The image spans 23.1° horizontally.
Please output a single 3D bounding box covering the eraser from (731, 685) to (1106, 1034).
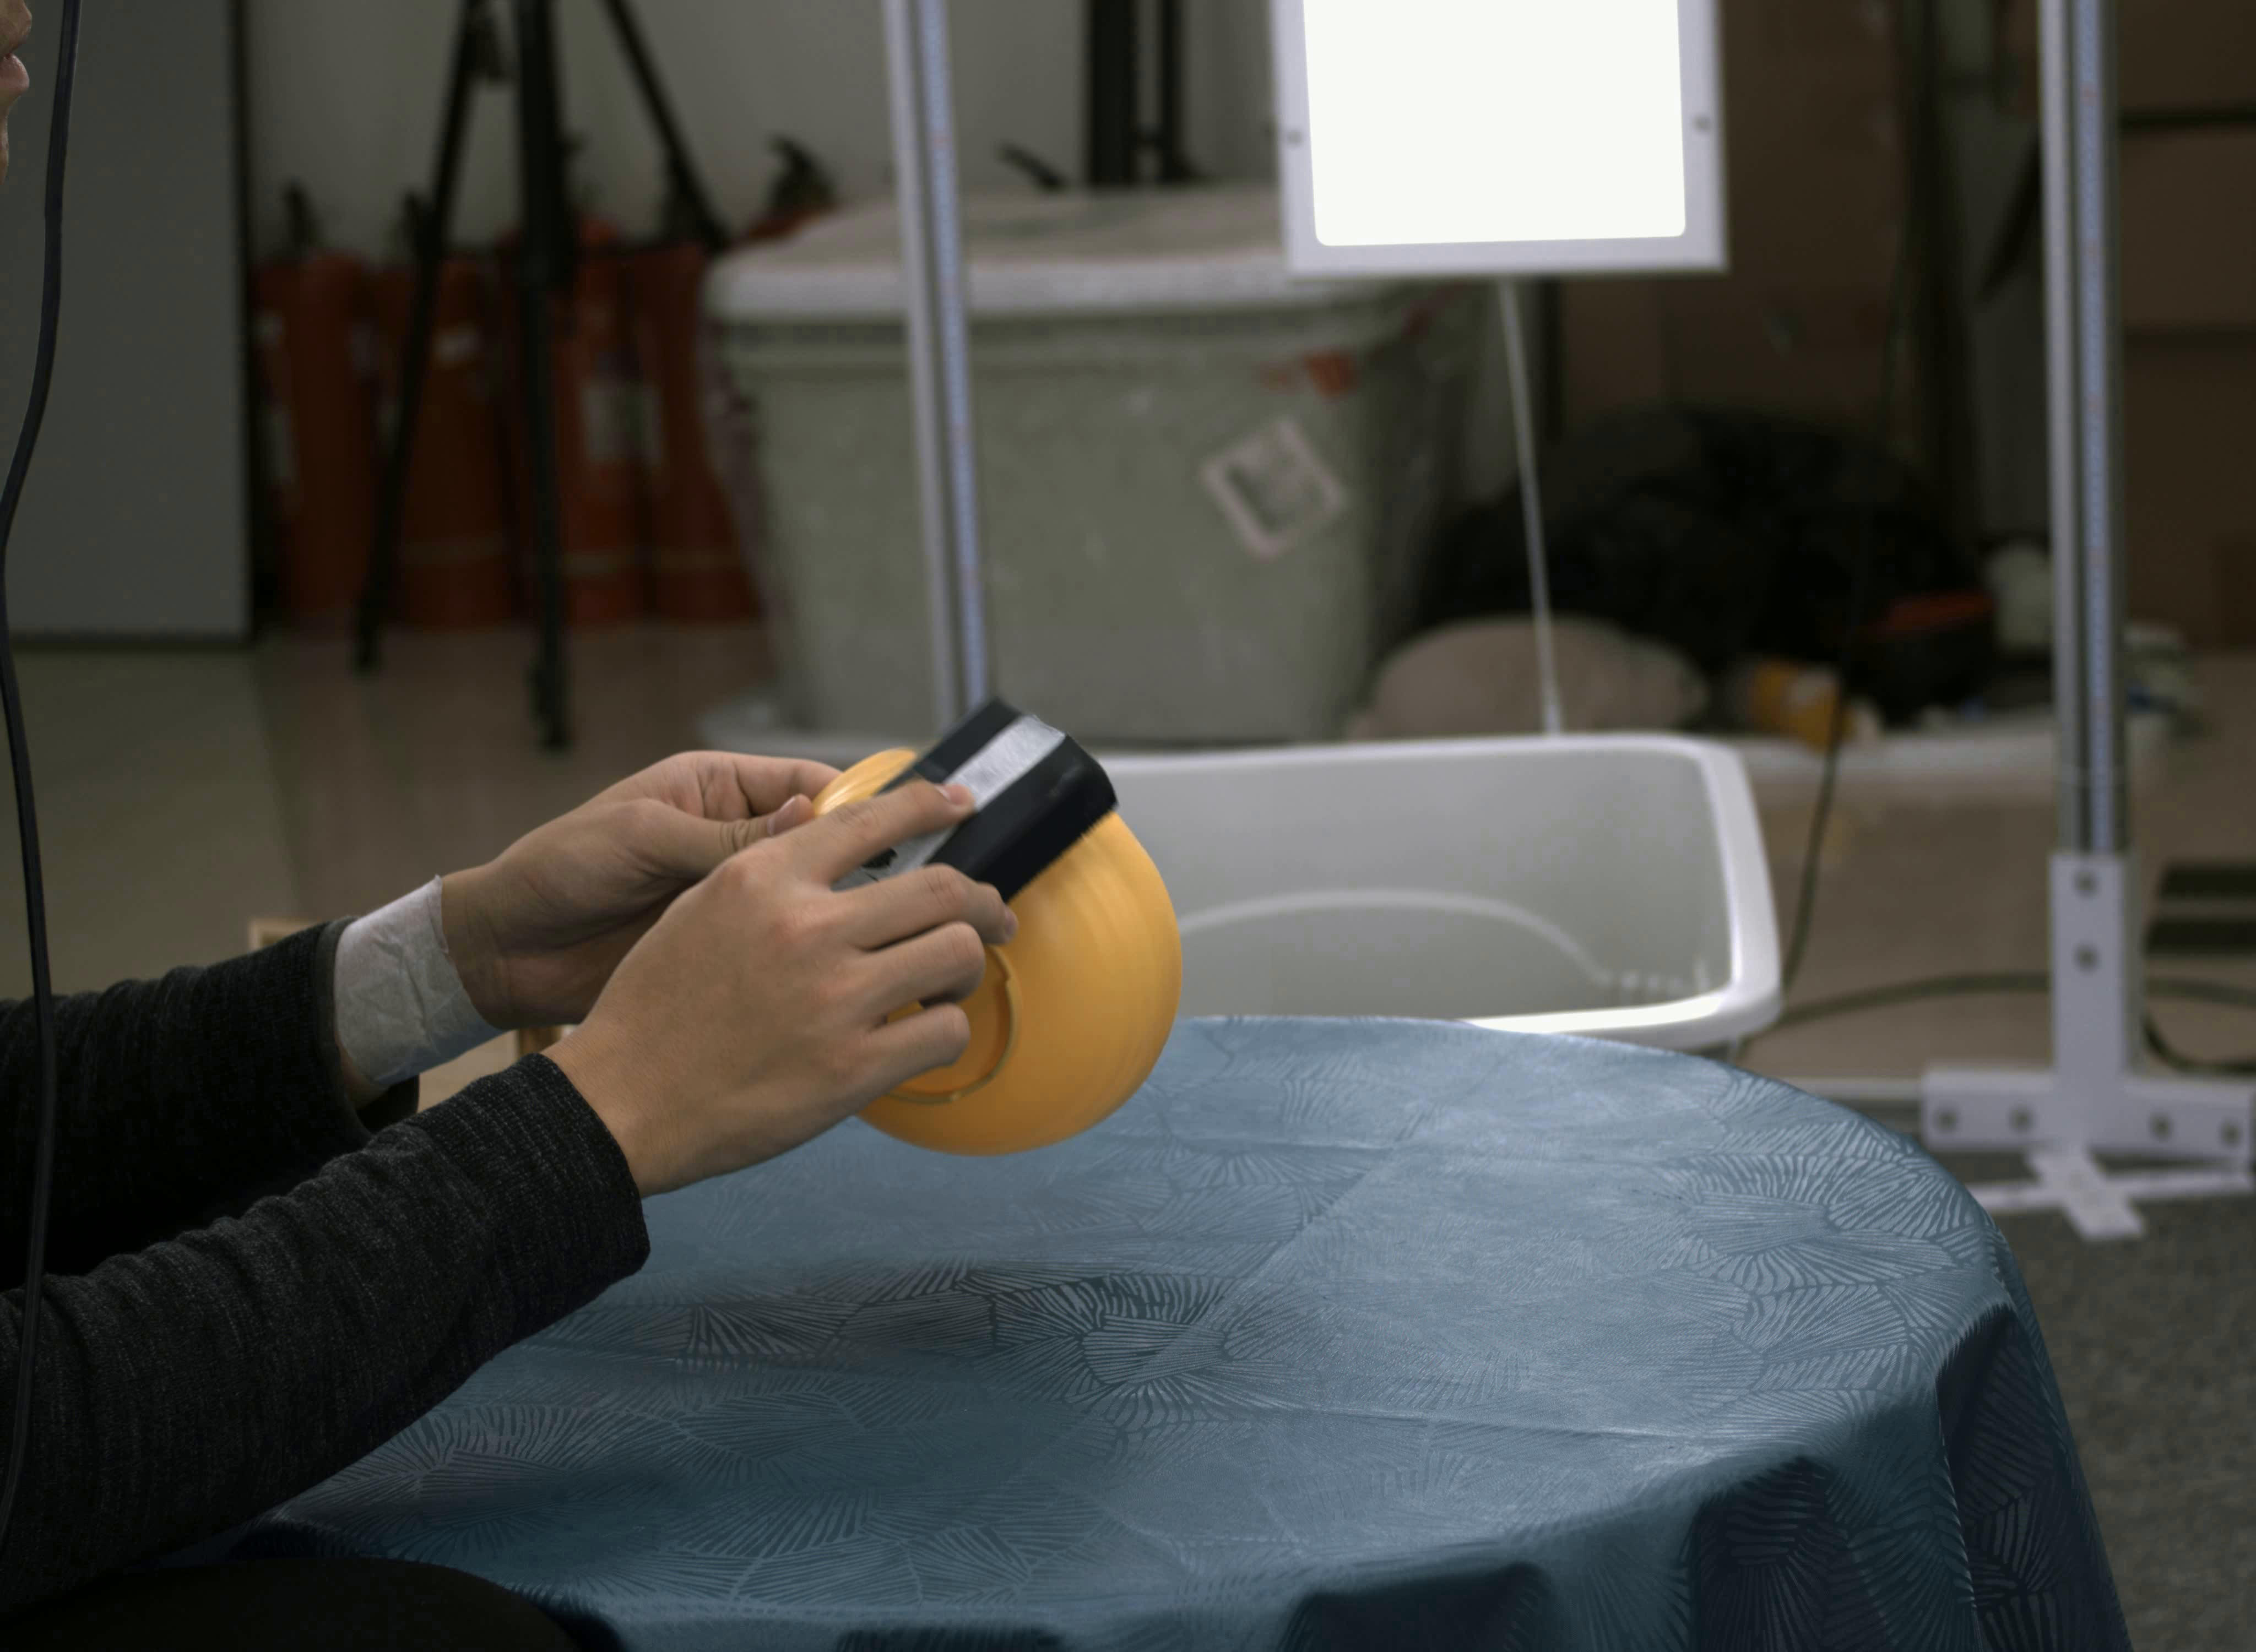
[{"bbox_3d":[-0.065,0.009,1.739,0.054,0.030,0.123,28,60,33],"label":"eraser"}]

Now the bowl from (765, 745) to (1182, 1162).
[{"bbox_3d":[-0.059,0.050,1.789,0.147,0.146,0.059,1,19,19],"label":"bowl"}]
